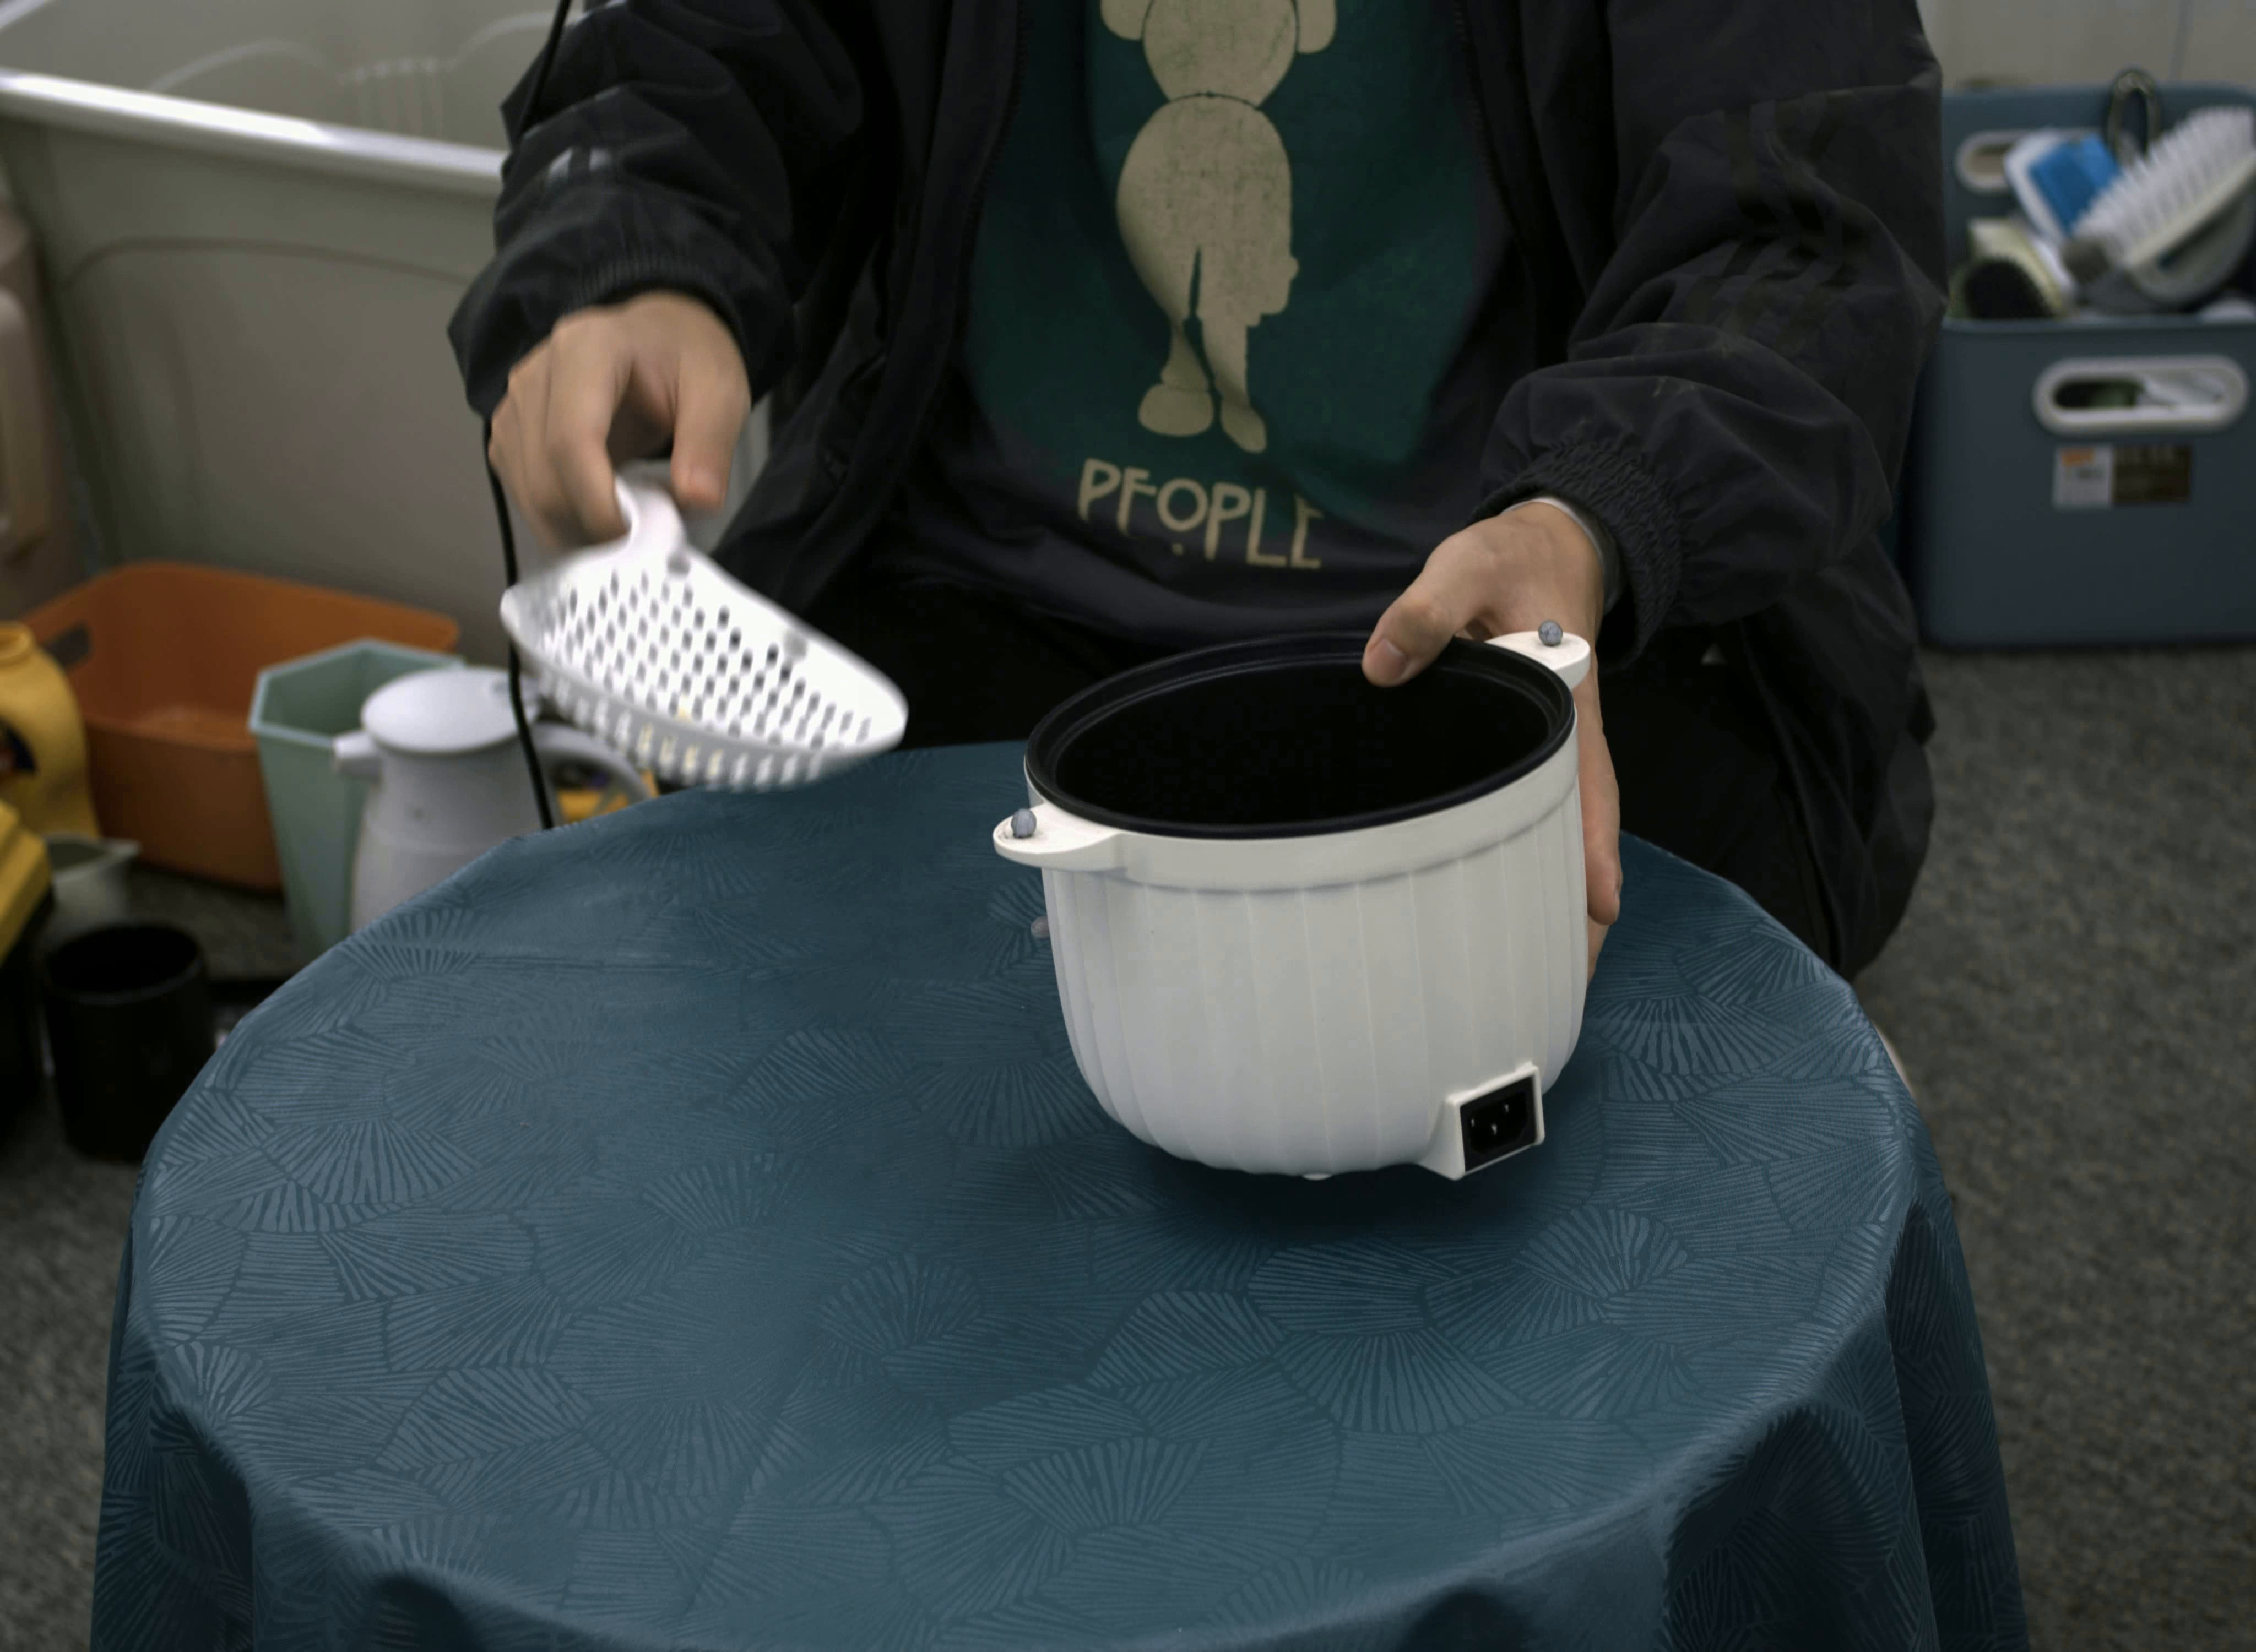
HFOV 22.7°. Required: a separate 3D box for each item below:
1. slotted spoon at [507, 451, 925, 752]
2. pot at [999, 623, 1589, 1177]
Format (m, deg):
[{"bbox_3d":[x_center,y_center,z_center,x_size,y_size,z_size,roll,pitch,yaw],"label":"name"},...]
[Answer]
[{"bbox_3d":[-0.158,-0.088,1.895,0.136,0.050,0.351,13,18,-16],"label":"slotted spoon"},{"bbox_3d":[0.058,0.026,1.861,0.242,0.141,0.190,-19,27,-34],"label":"pot"}]
